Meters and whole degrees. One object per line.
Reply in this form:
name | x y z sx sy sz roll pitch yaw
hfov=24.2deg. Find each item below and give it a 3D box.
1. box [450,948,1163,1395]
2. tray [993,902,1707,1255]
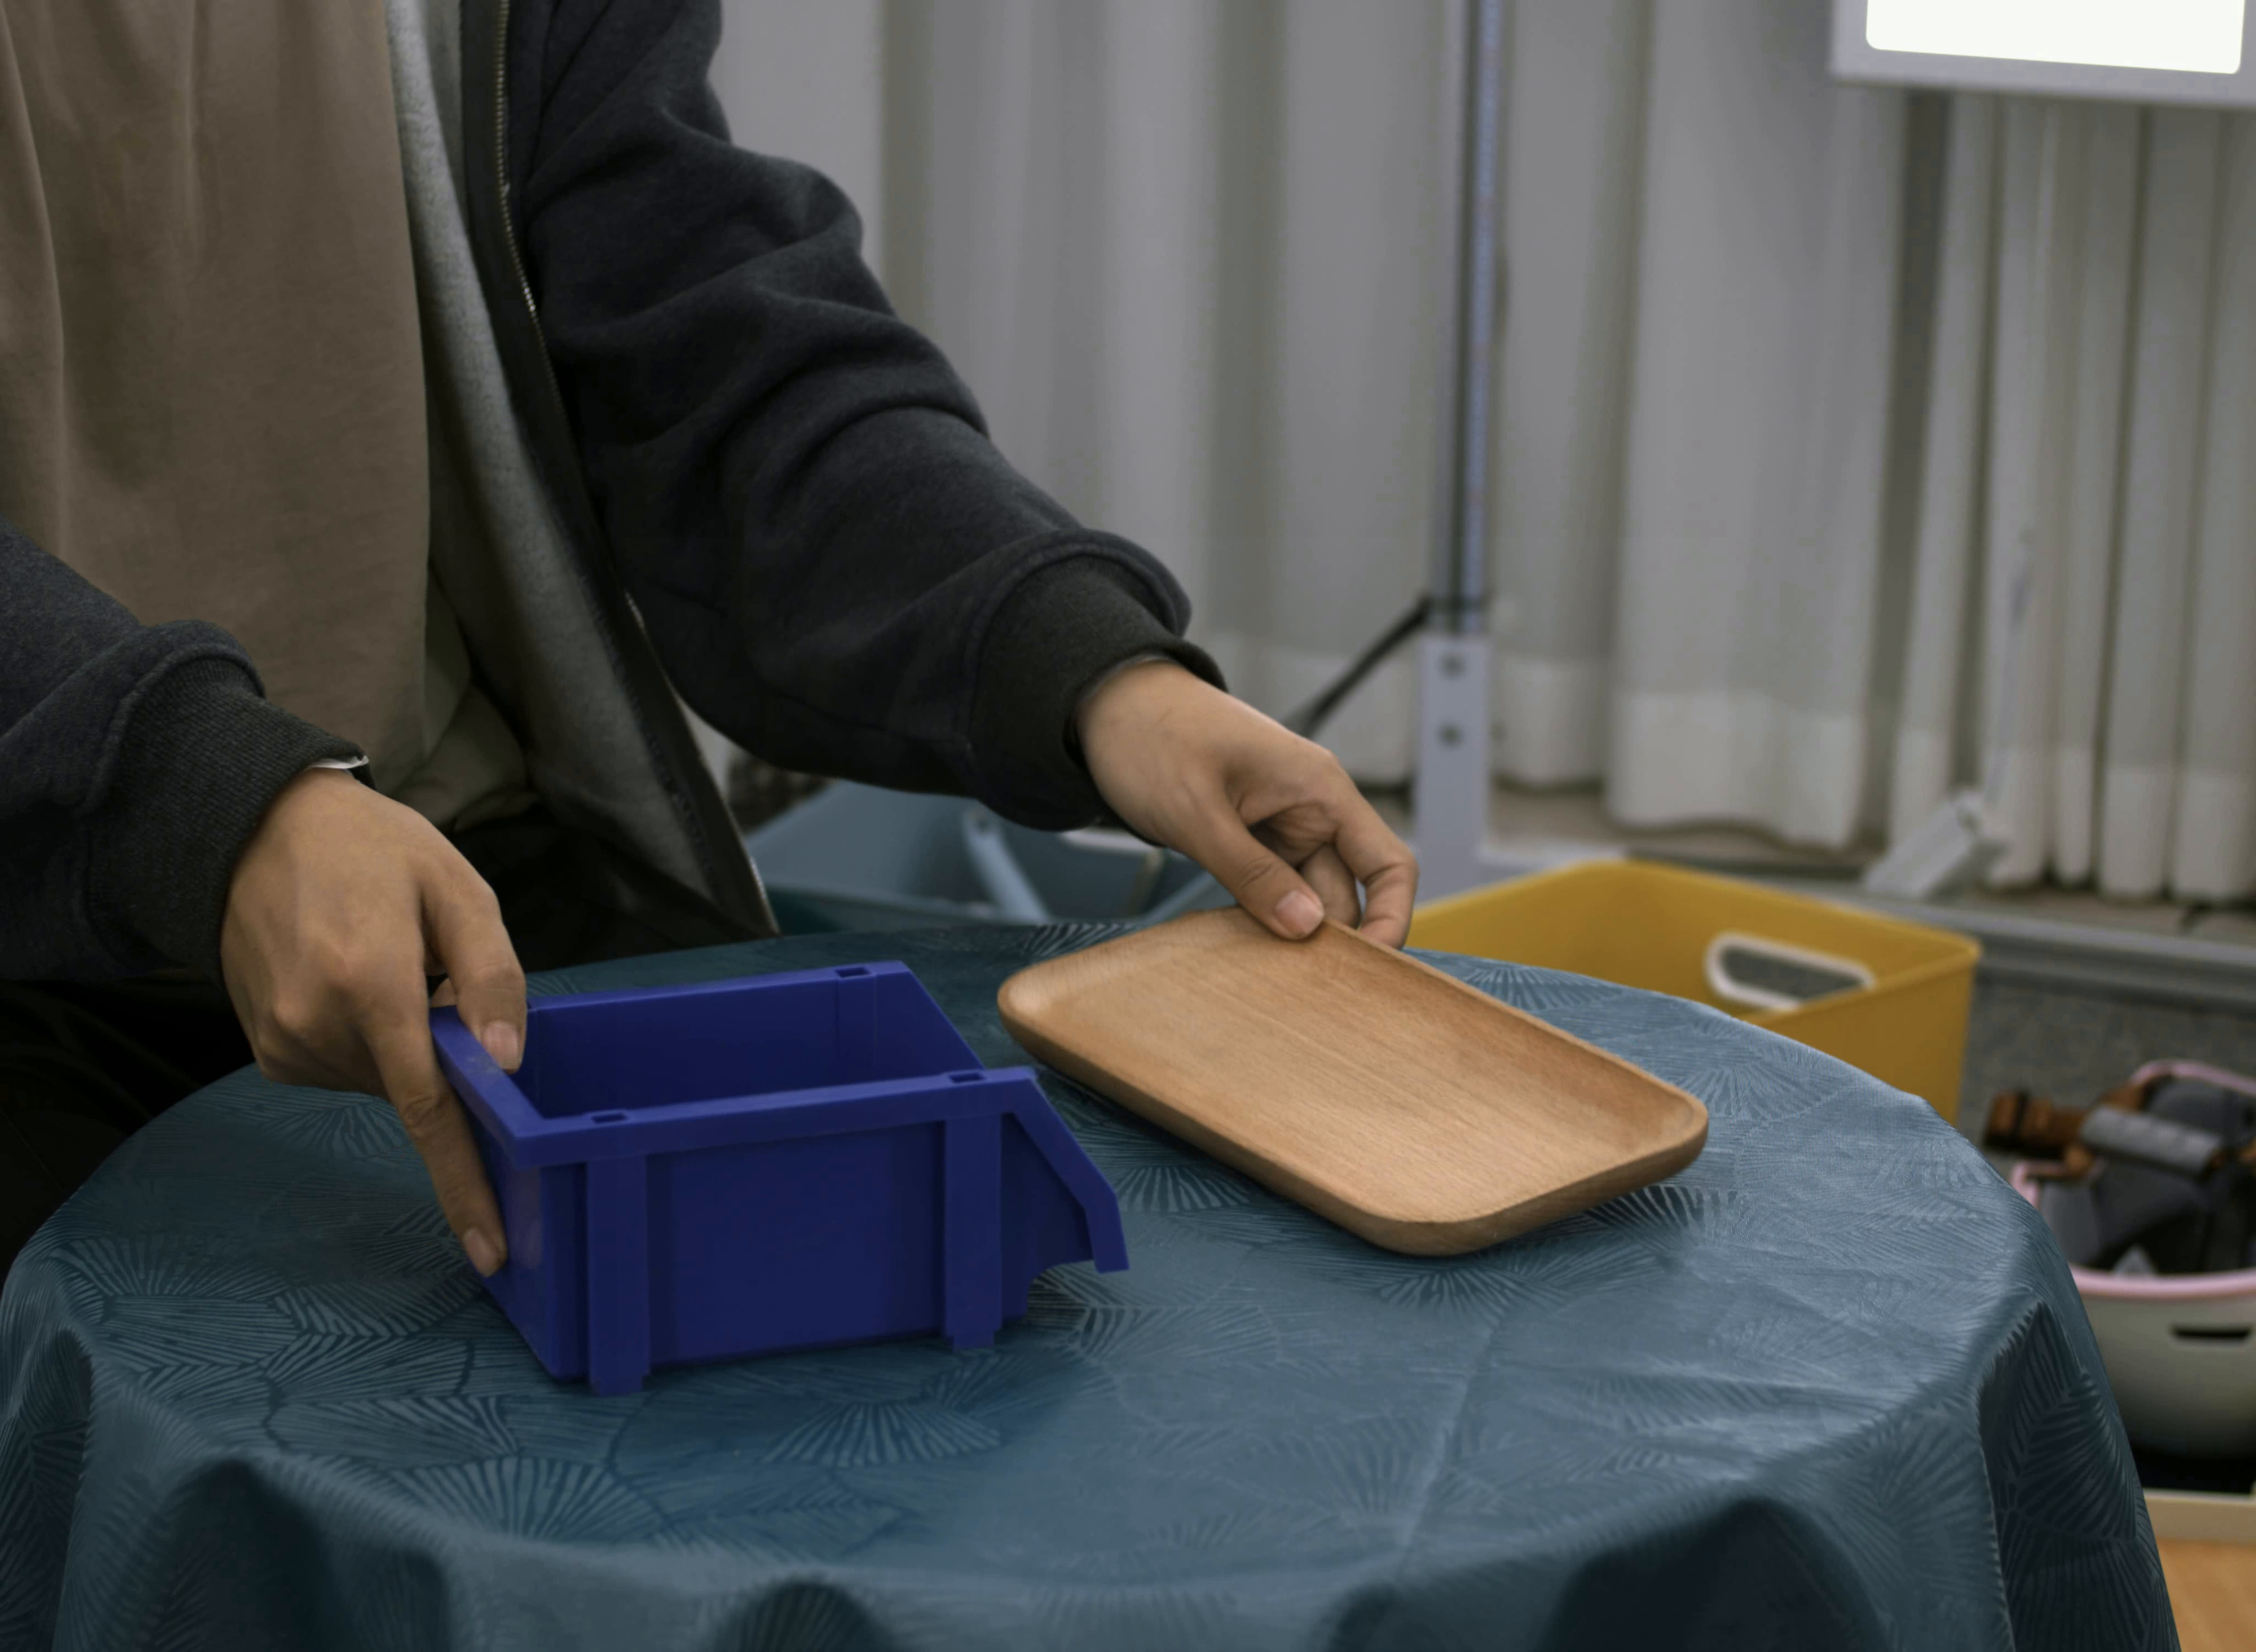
box | -0.094 0.096 1.524 0.180 0.082 0.123 -8 18 -18
tray | 0.067 0.078 1.676 0.131 0.023 0.247 -16 23 -31
